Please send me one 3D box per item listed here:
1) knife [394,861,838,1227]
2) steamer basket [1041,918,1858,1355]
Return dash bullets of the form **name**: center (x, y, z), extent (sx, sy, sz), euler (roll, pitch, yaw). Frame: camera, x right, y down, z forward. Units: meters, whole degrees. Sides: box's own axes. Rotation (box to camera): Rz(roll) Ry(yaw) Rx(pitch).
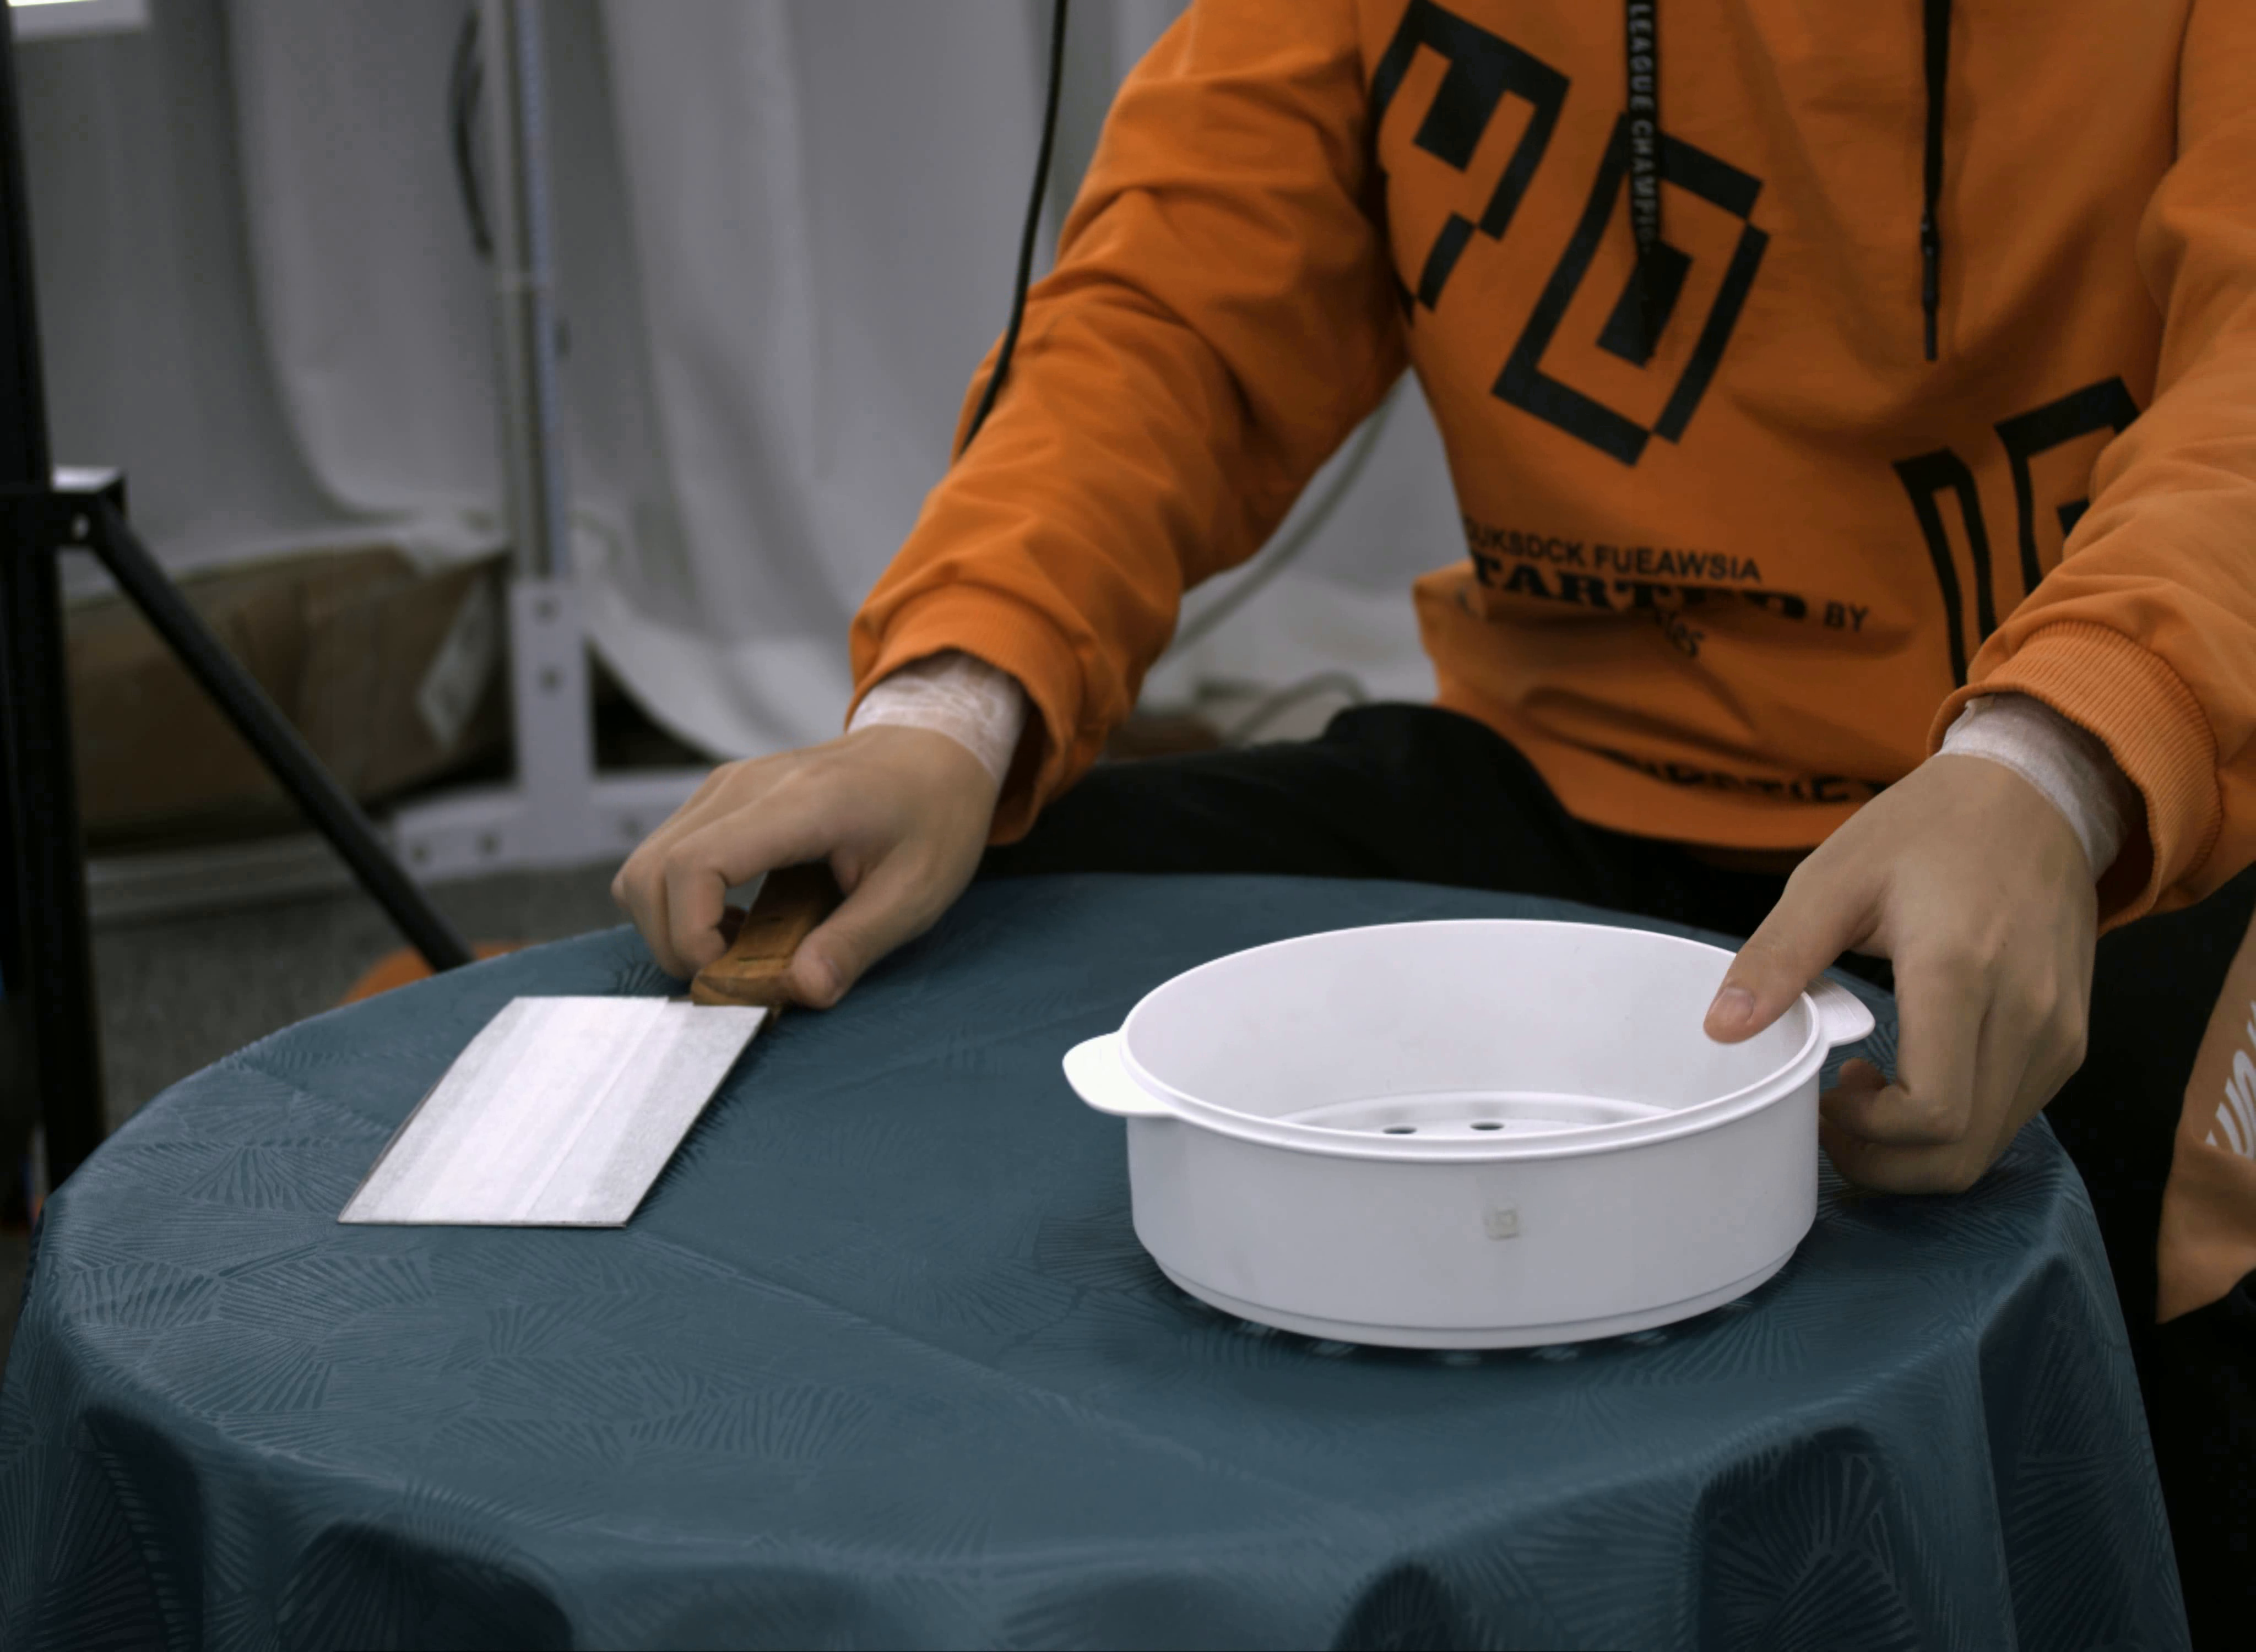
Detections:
- **knife**: center (-0.162, 0.068, 1.699), extent (0.093, 0.021, 0.304), euler (-1, 18, 11)
- **steamer basket**: center (0.092, 0.087, 1.489), extent (0.228, 0.069, 0.204), euler (-7, 16, -9)
